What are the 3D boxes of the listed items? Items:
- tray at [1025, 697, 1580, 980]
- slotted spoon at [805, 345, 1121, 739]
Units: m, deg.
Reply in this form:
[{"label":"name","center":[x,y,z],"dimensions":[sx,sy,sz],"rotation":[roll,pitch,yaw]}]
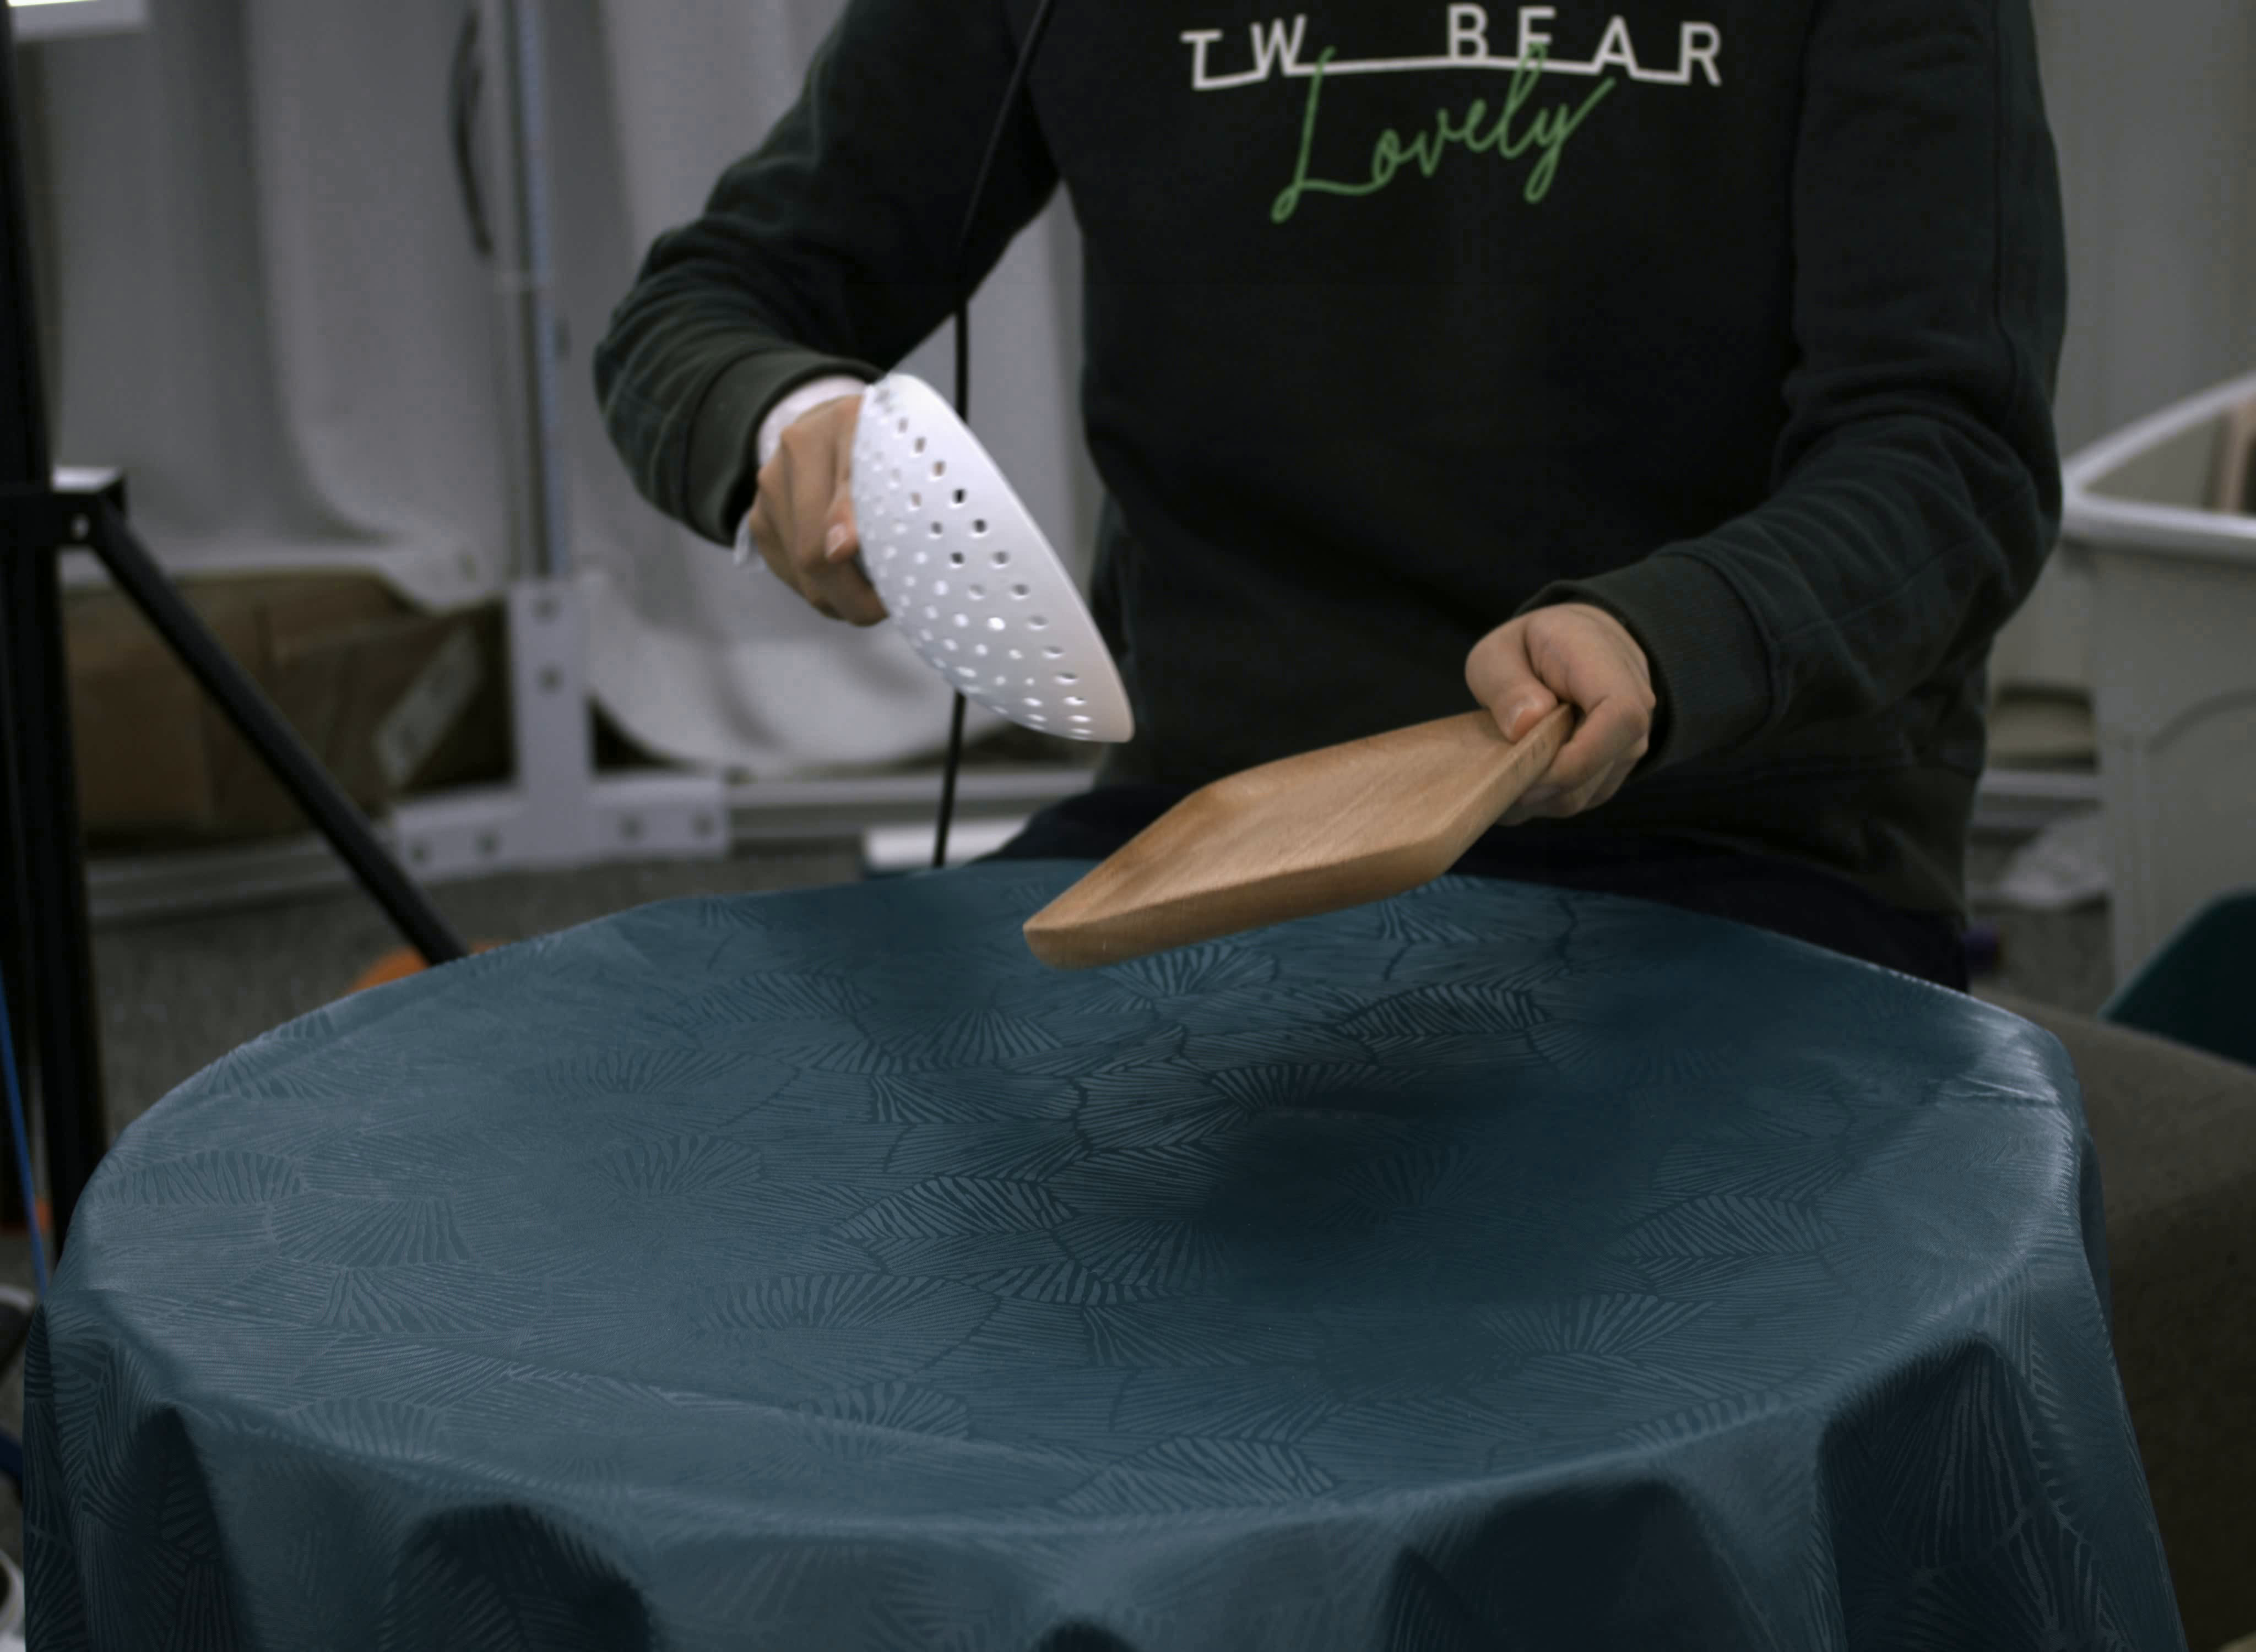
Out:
[{"label":"tray","center":[0.056,0.002,1.565],"dimensions":[0.132,0.023,0.248],"rotation":[-12,7,18]},{"label":"slotted spoon","center":[-0.067,-0.087,1.705],"dimensions":[0.045,0.135,0.352],"rotation":[-31,8,-4]}]
